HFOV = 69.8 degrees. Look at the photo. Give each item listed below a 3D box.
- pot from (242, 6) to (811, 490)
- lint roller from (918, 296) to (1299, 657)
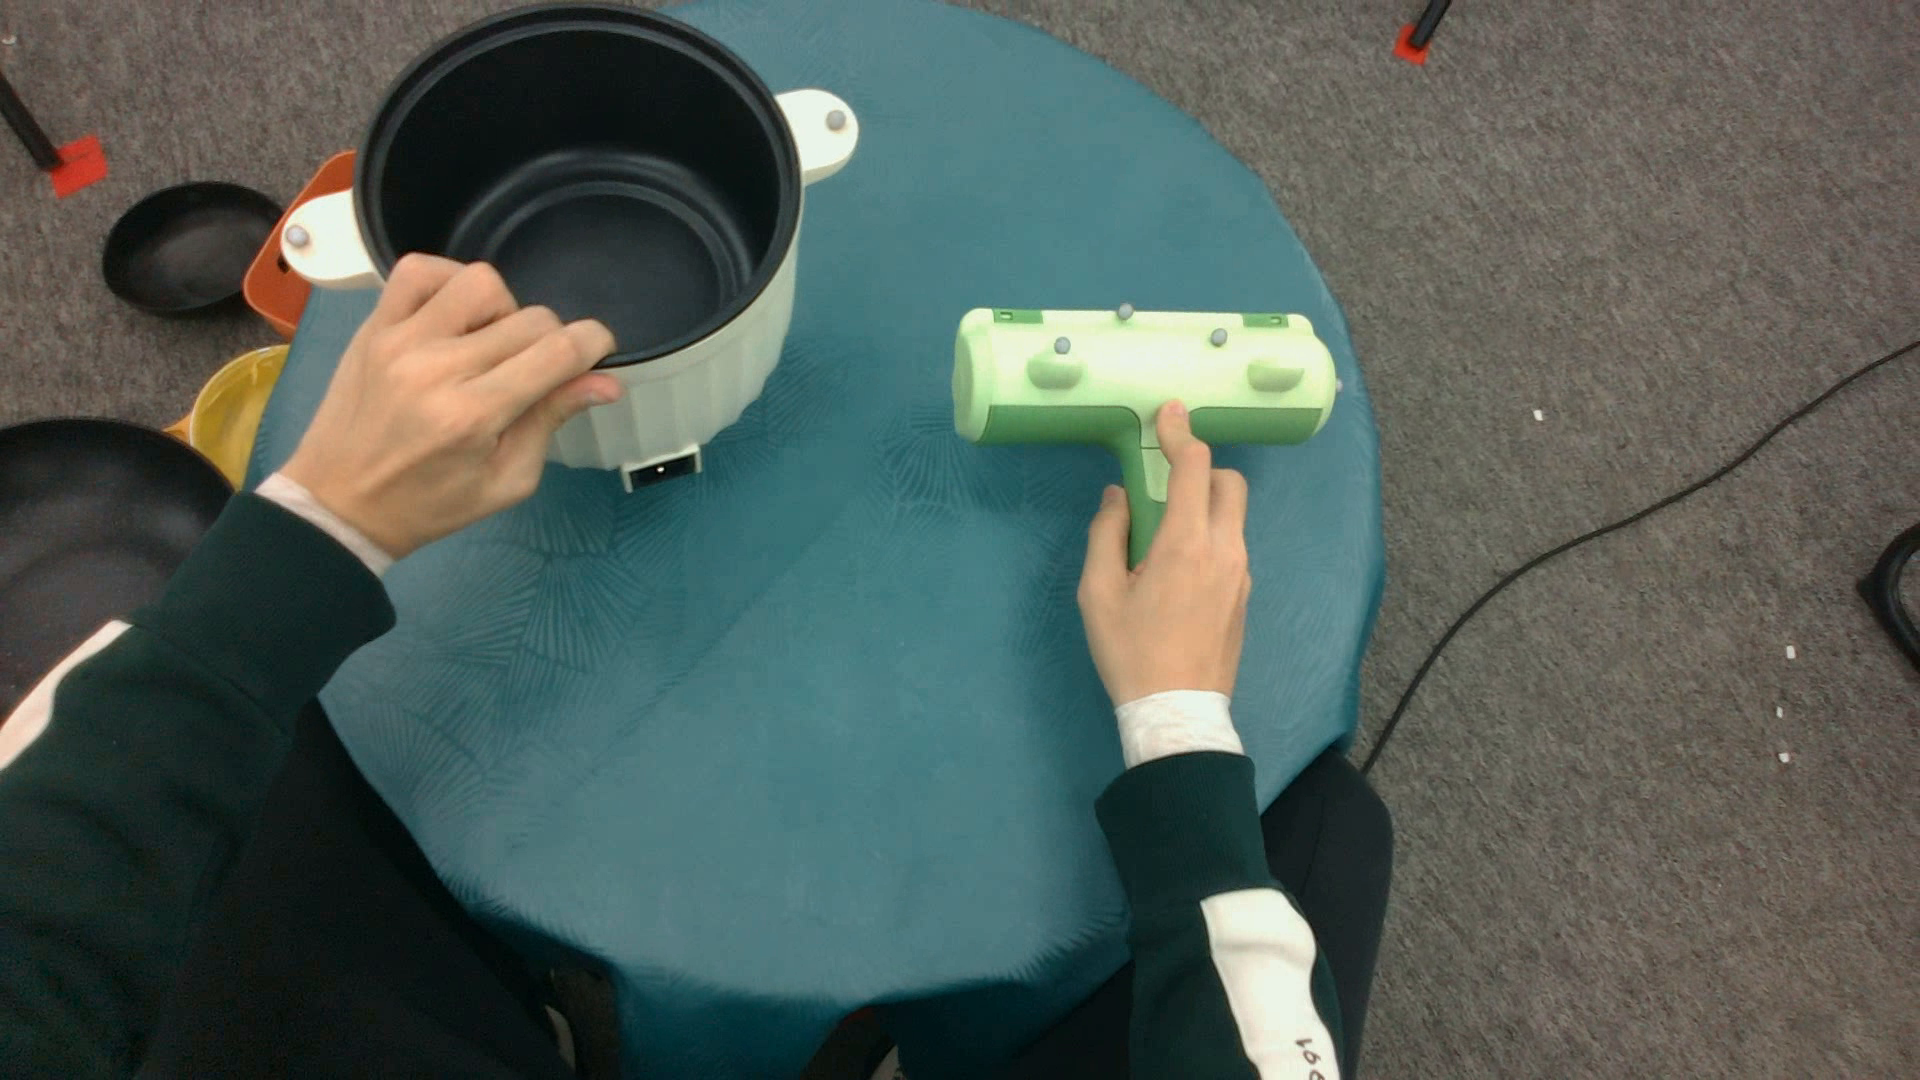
[{"bbox_3d":[-0.189,-0.132,0.637,0.241,0.142,0.191,-20,76,-18],"label":"pot"},{"bbox_3d":[0.086,-0.039,0.683,0.199,0.082,0.184,-2,68,-16],"label":"lint roller"}]
